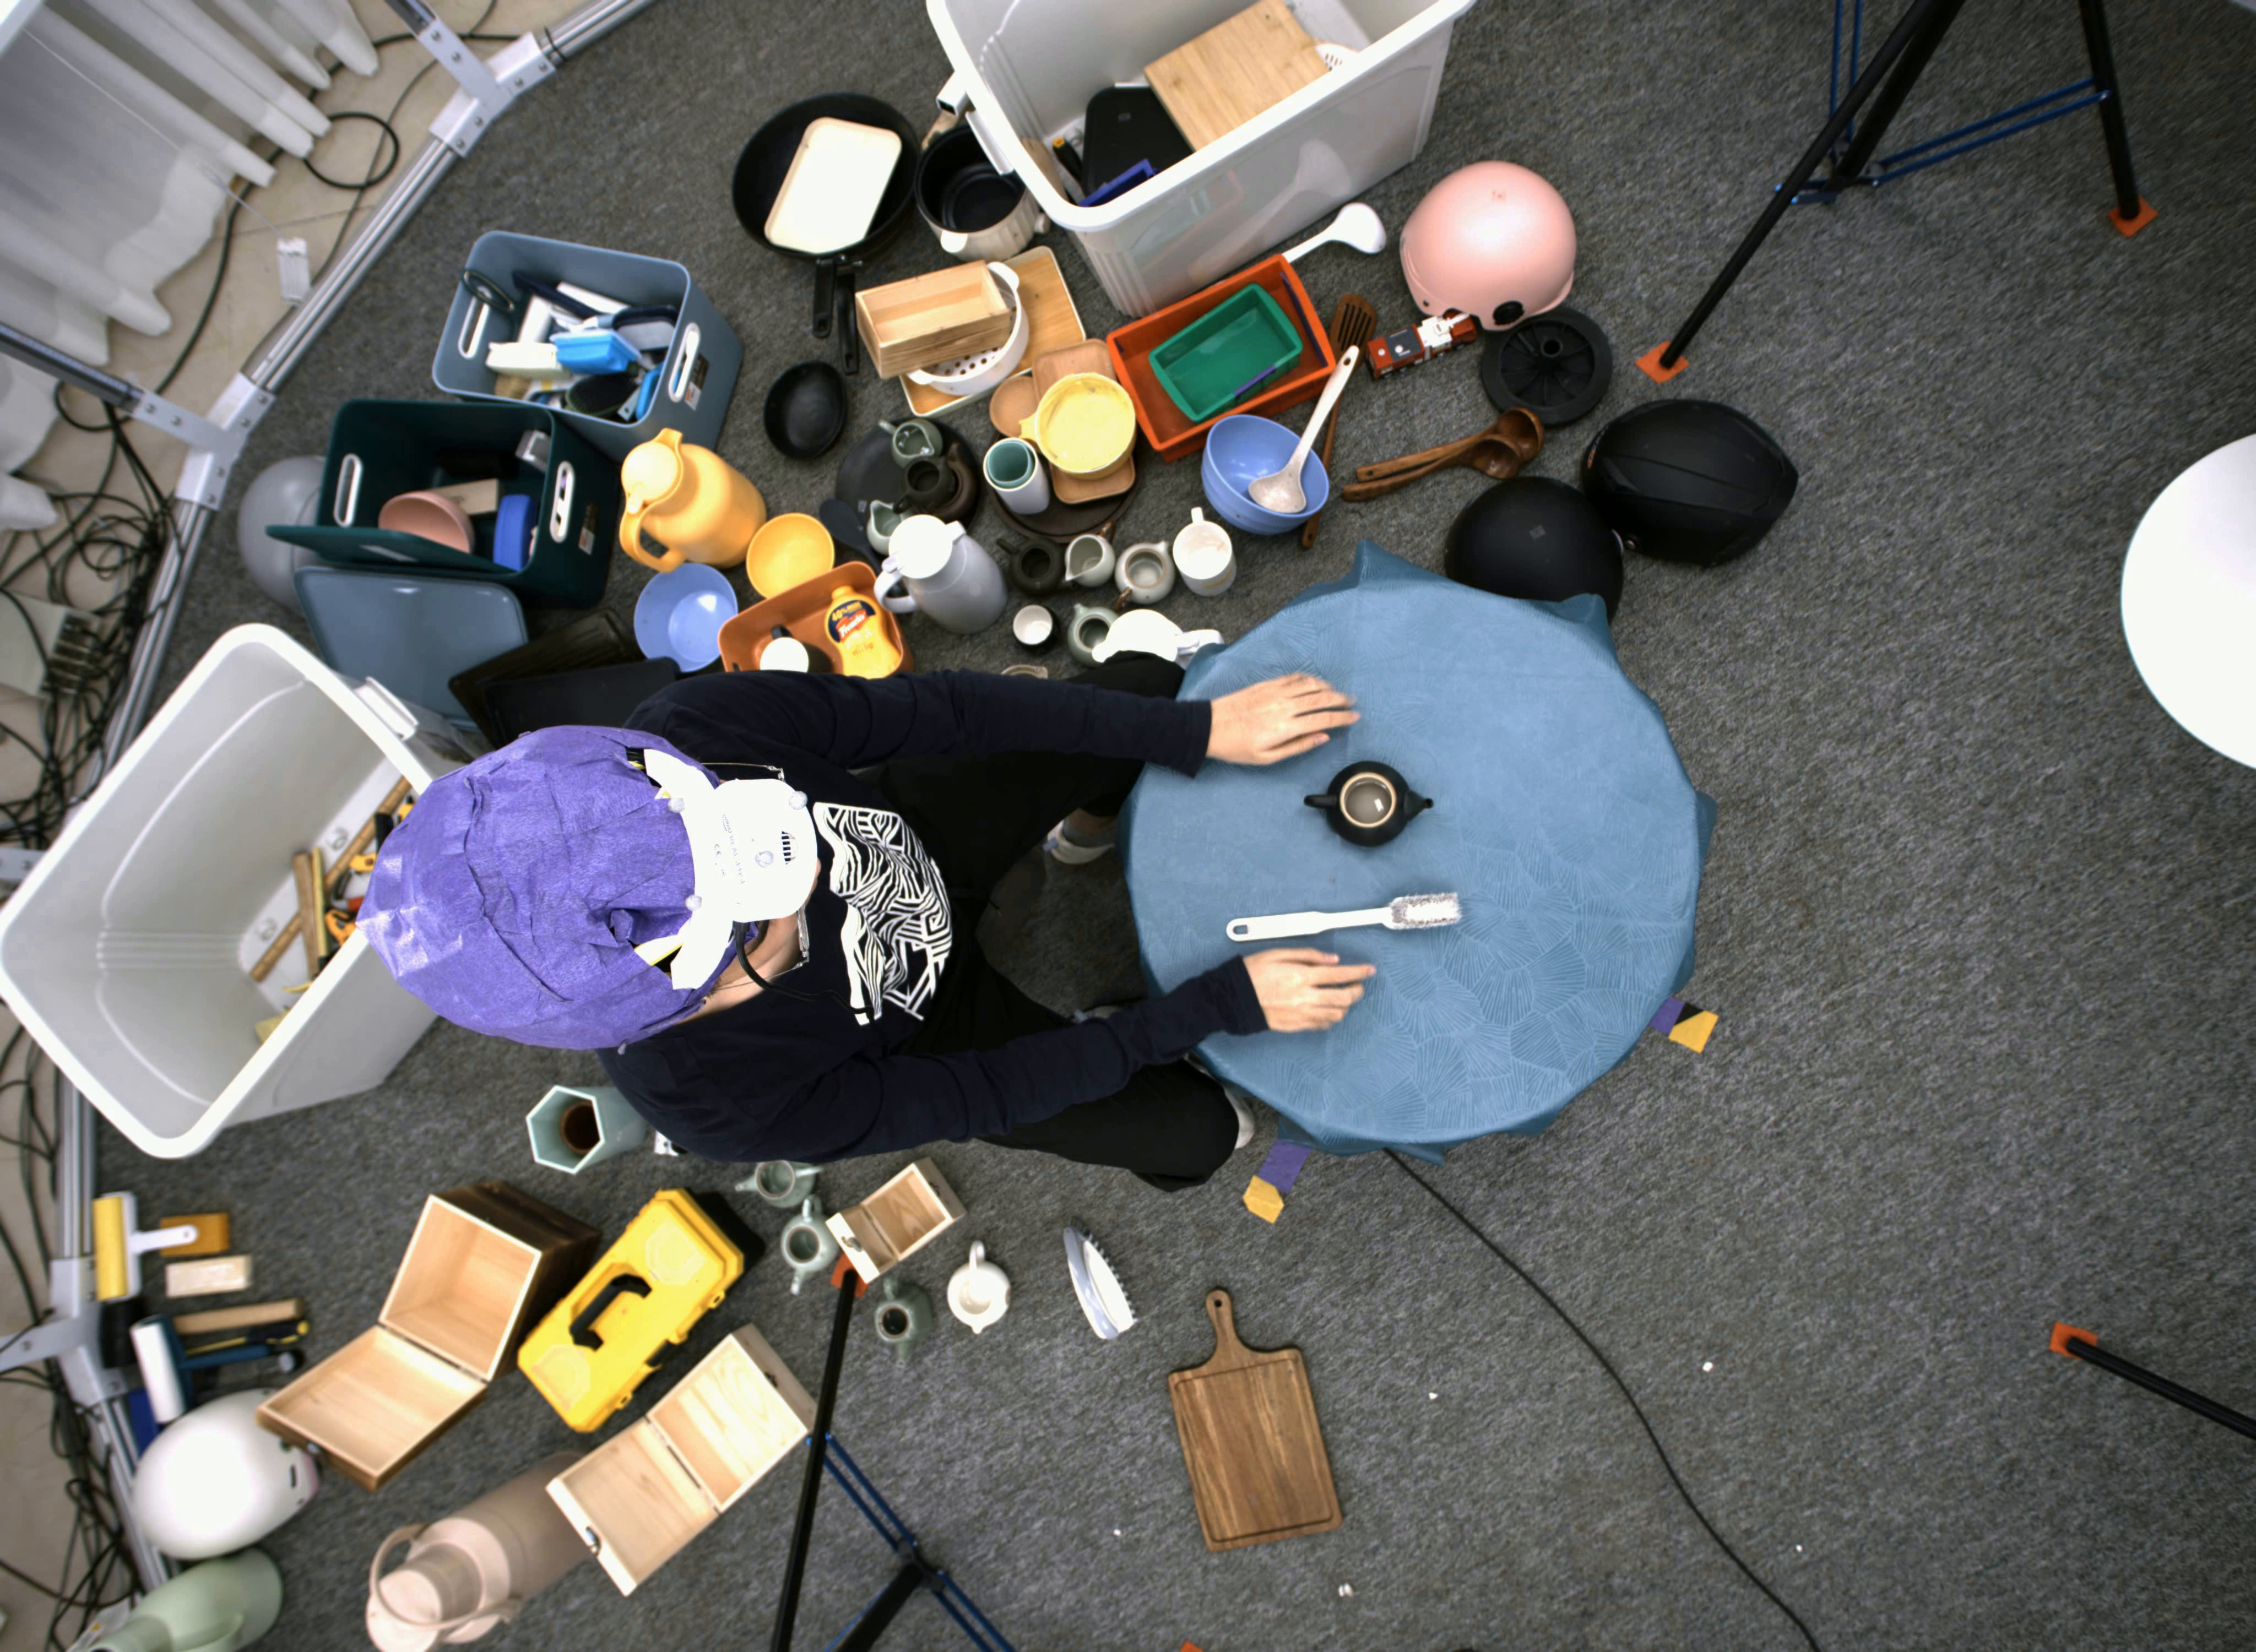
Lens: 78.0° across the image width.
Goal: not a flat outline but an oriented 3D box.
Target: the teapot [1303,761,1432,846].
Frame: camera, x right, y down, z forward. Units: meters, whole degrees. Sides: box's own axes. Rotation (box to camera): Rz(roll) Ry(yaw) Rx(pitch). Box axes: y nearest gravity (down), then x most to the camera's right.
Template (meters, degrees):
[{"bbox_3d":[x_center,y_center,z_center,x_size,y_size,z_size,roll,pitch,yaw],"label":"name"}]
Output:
[{"bbox_3d":[0.250,-0.025,1.440,0.133,0.053,0.090,1,84,11],"label":"teapot"}]

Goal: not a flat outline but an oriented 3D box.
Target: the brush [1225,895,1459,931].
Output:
[{"bbox_3d":[0.221,0.093,1.442,0.244,0.050,0.034,-3,90,10],"label":"brush"}]
